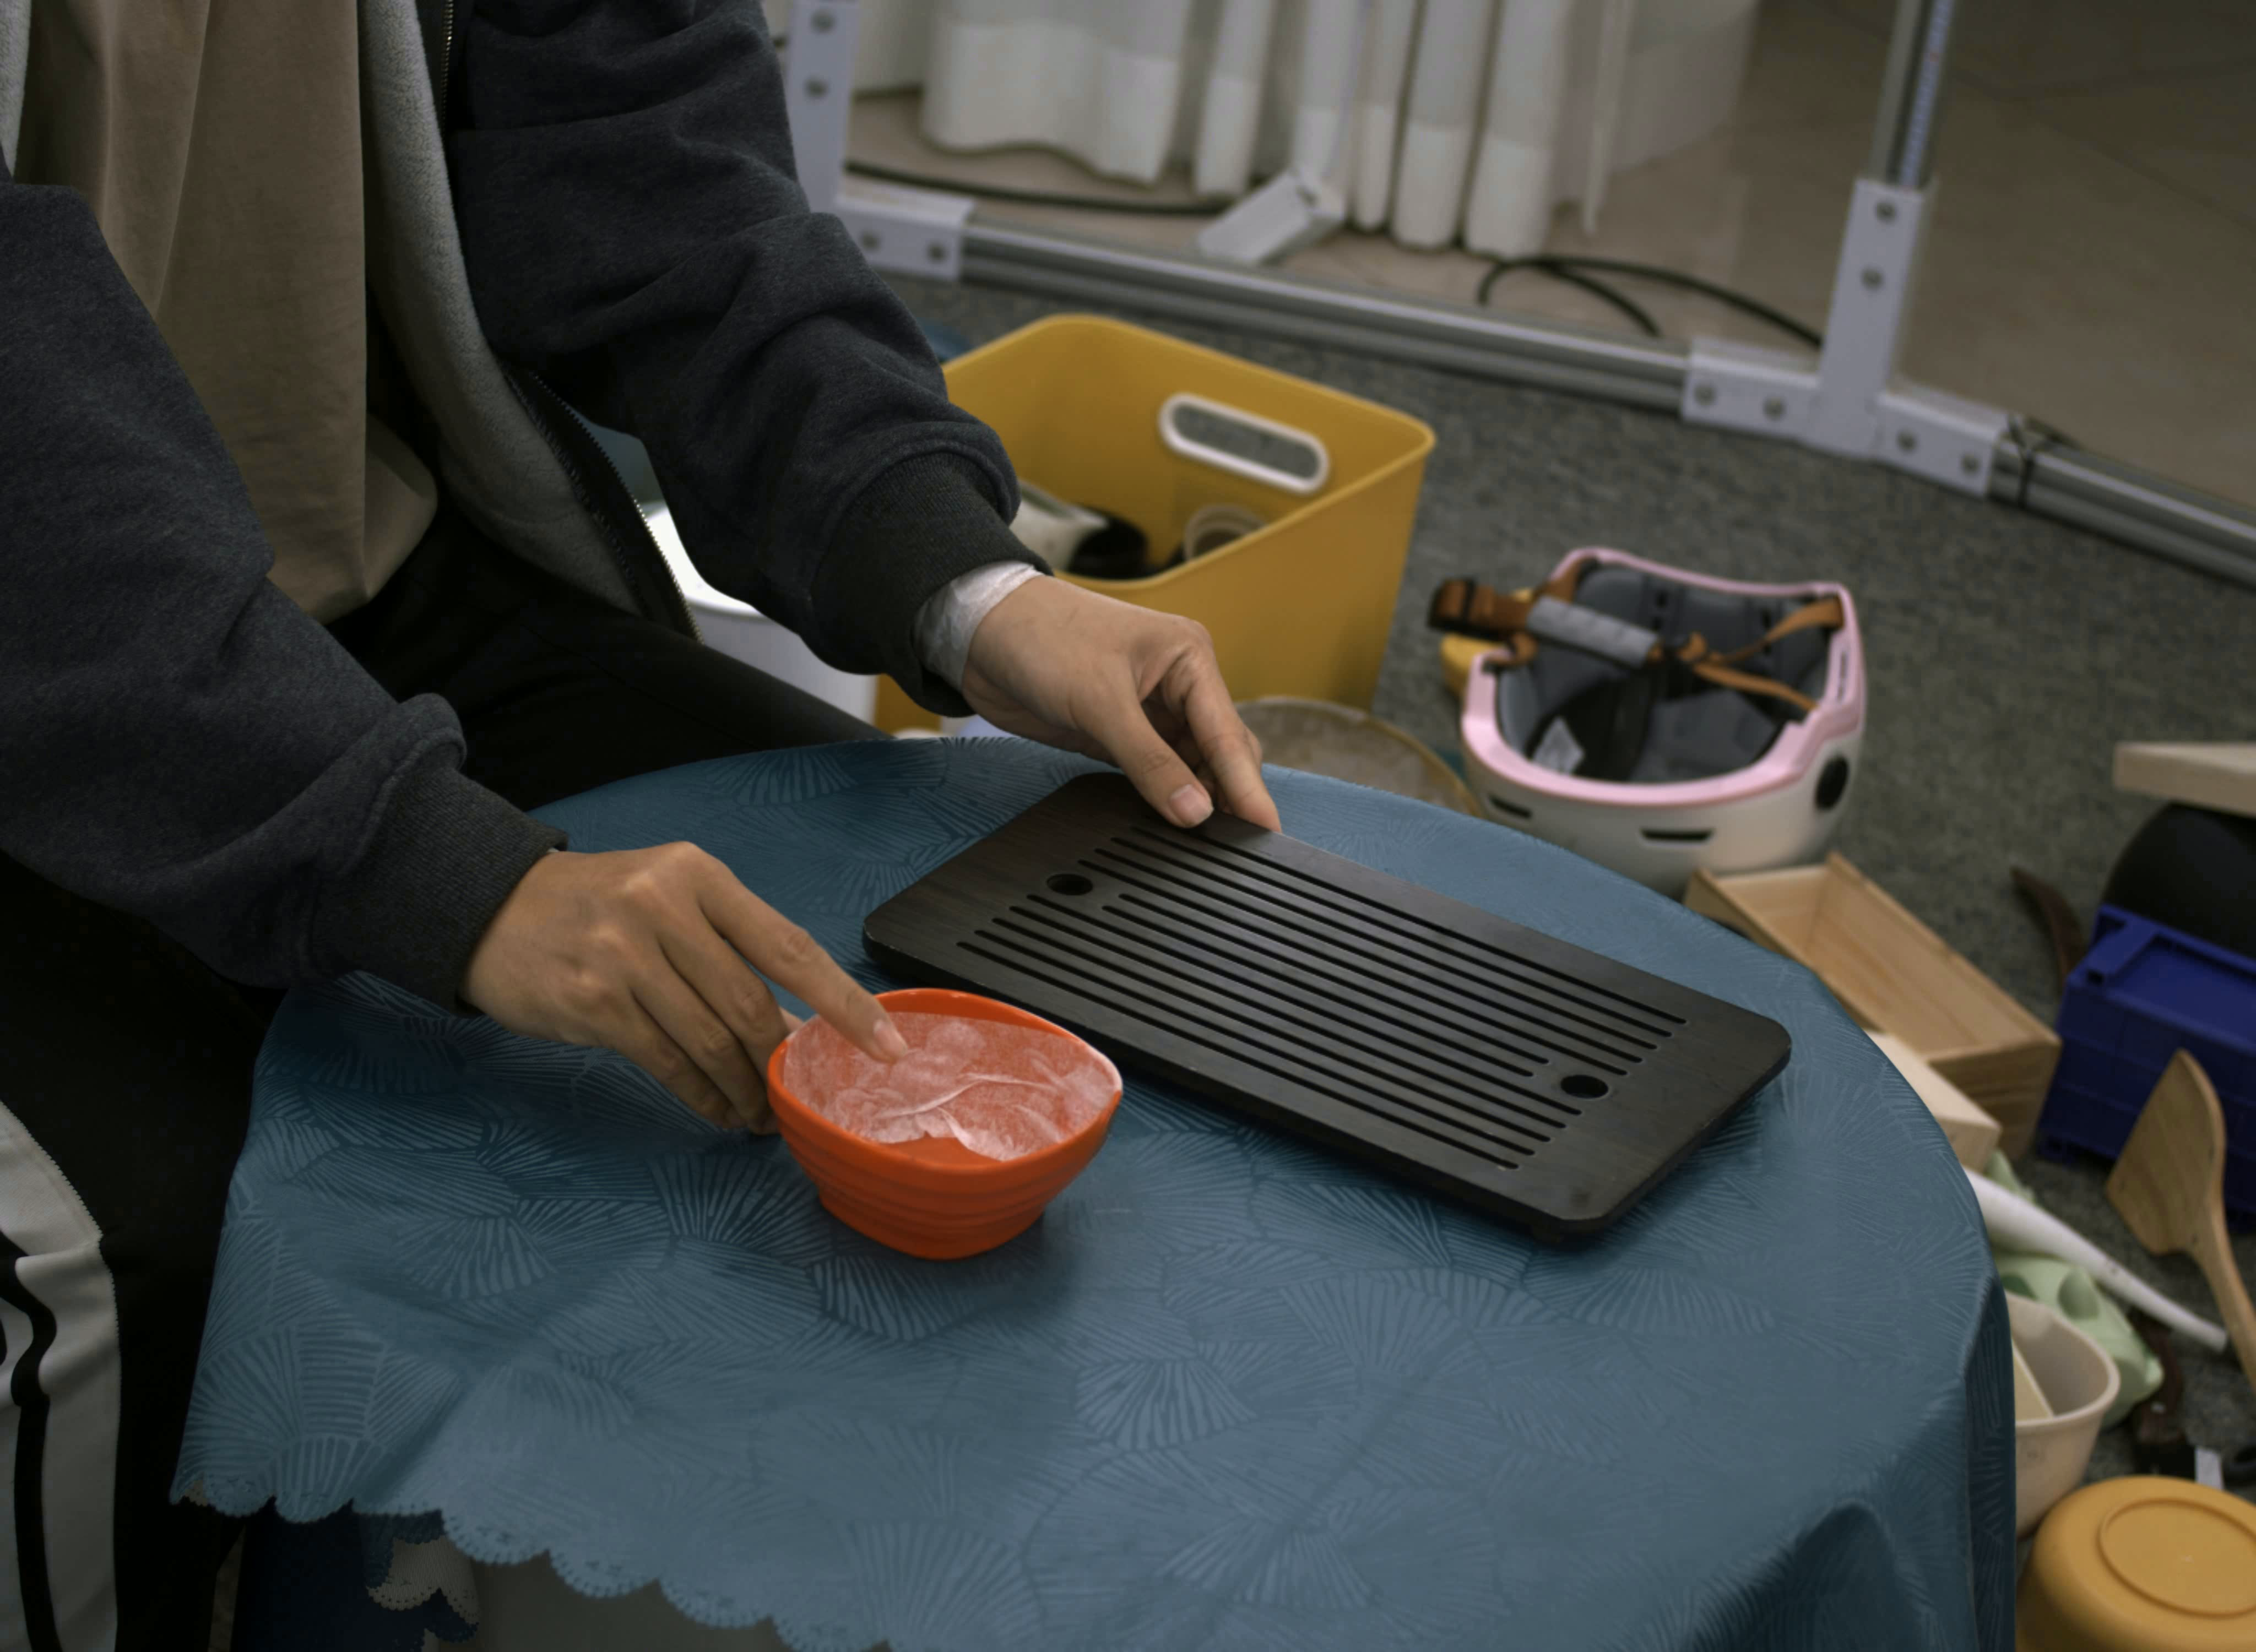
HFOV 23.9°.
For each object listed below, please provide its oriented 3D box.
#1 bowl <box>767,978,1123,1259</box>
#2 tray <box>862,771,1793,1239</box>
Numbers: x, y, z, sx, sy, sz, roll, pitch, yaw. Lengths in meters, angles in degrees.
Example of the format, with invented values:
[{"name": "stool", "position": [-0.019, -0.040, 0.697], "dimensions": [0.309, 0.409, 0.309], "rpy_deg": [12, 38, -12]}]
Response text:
[{"name": "bowl", "position": [-0.063, 0.102, 1.770], "dimensions": [0.118, 0.051, 0.119], "rpy_deg": [6, 29, -4]}, {"name": "tray", "position": [0.071, 0.061, 1.915], "dimensions": [0.307, 0.018, 0.170], "rpy_deg": [21, 32, 26]}]
